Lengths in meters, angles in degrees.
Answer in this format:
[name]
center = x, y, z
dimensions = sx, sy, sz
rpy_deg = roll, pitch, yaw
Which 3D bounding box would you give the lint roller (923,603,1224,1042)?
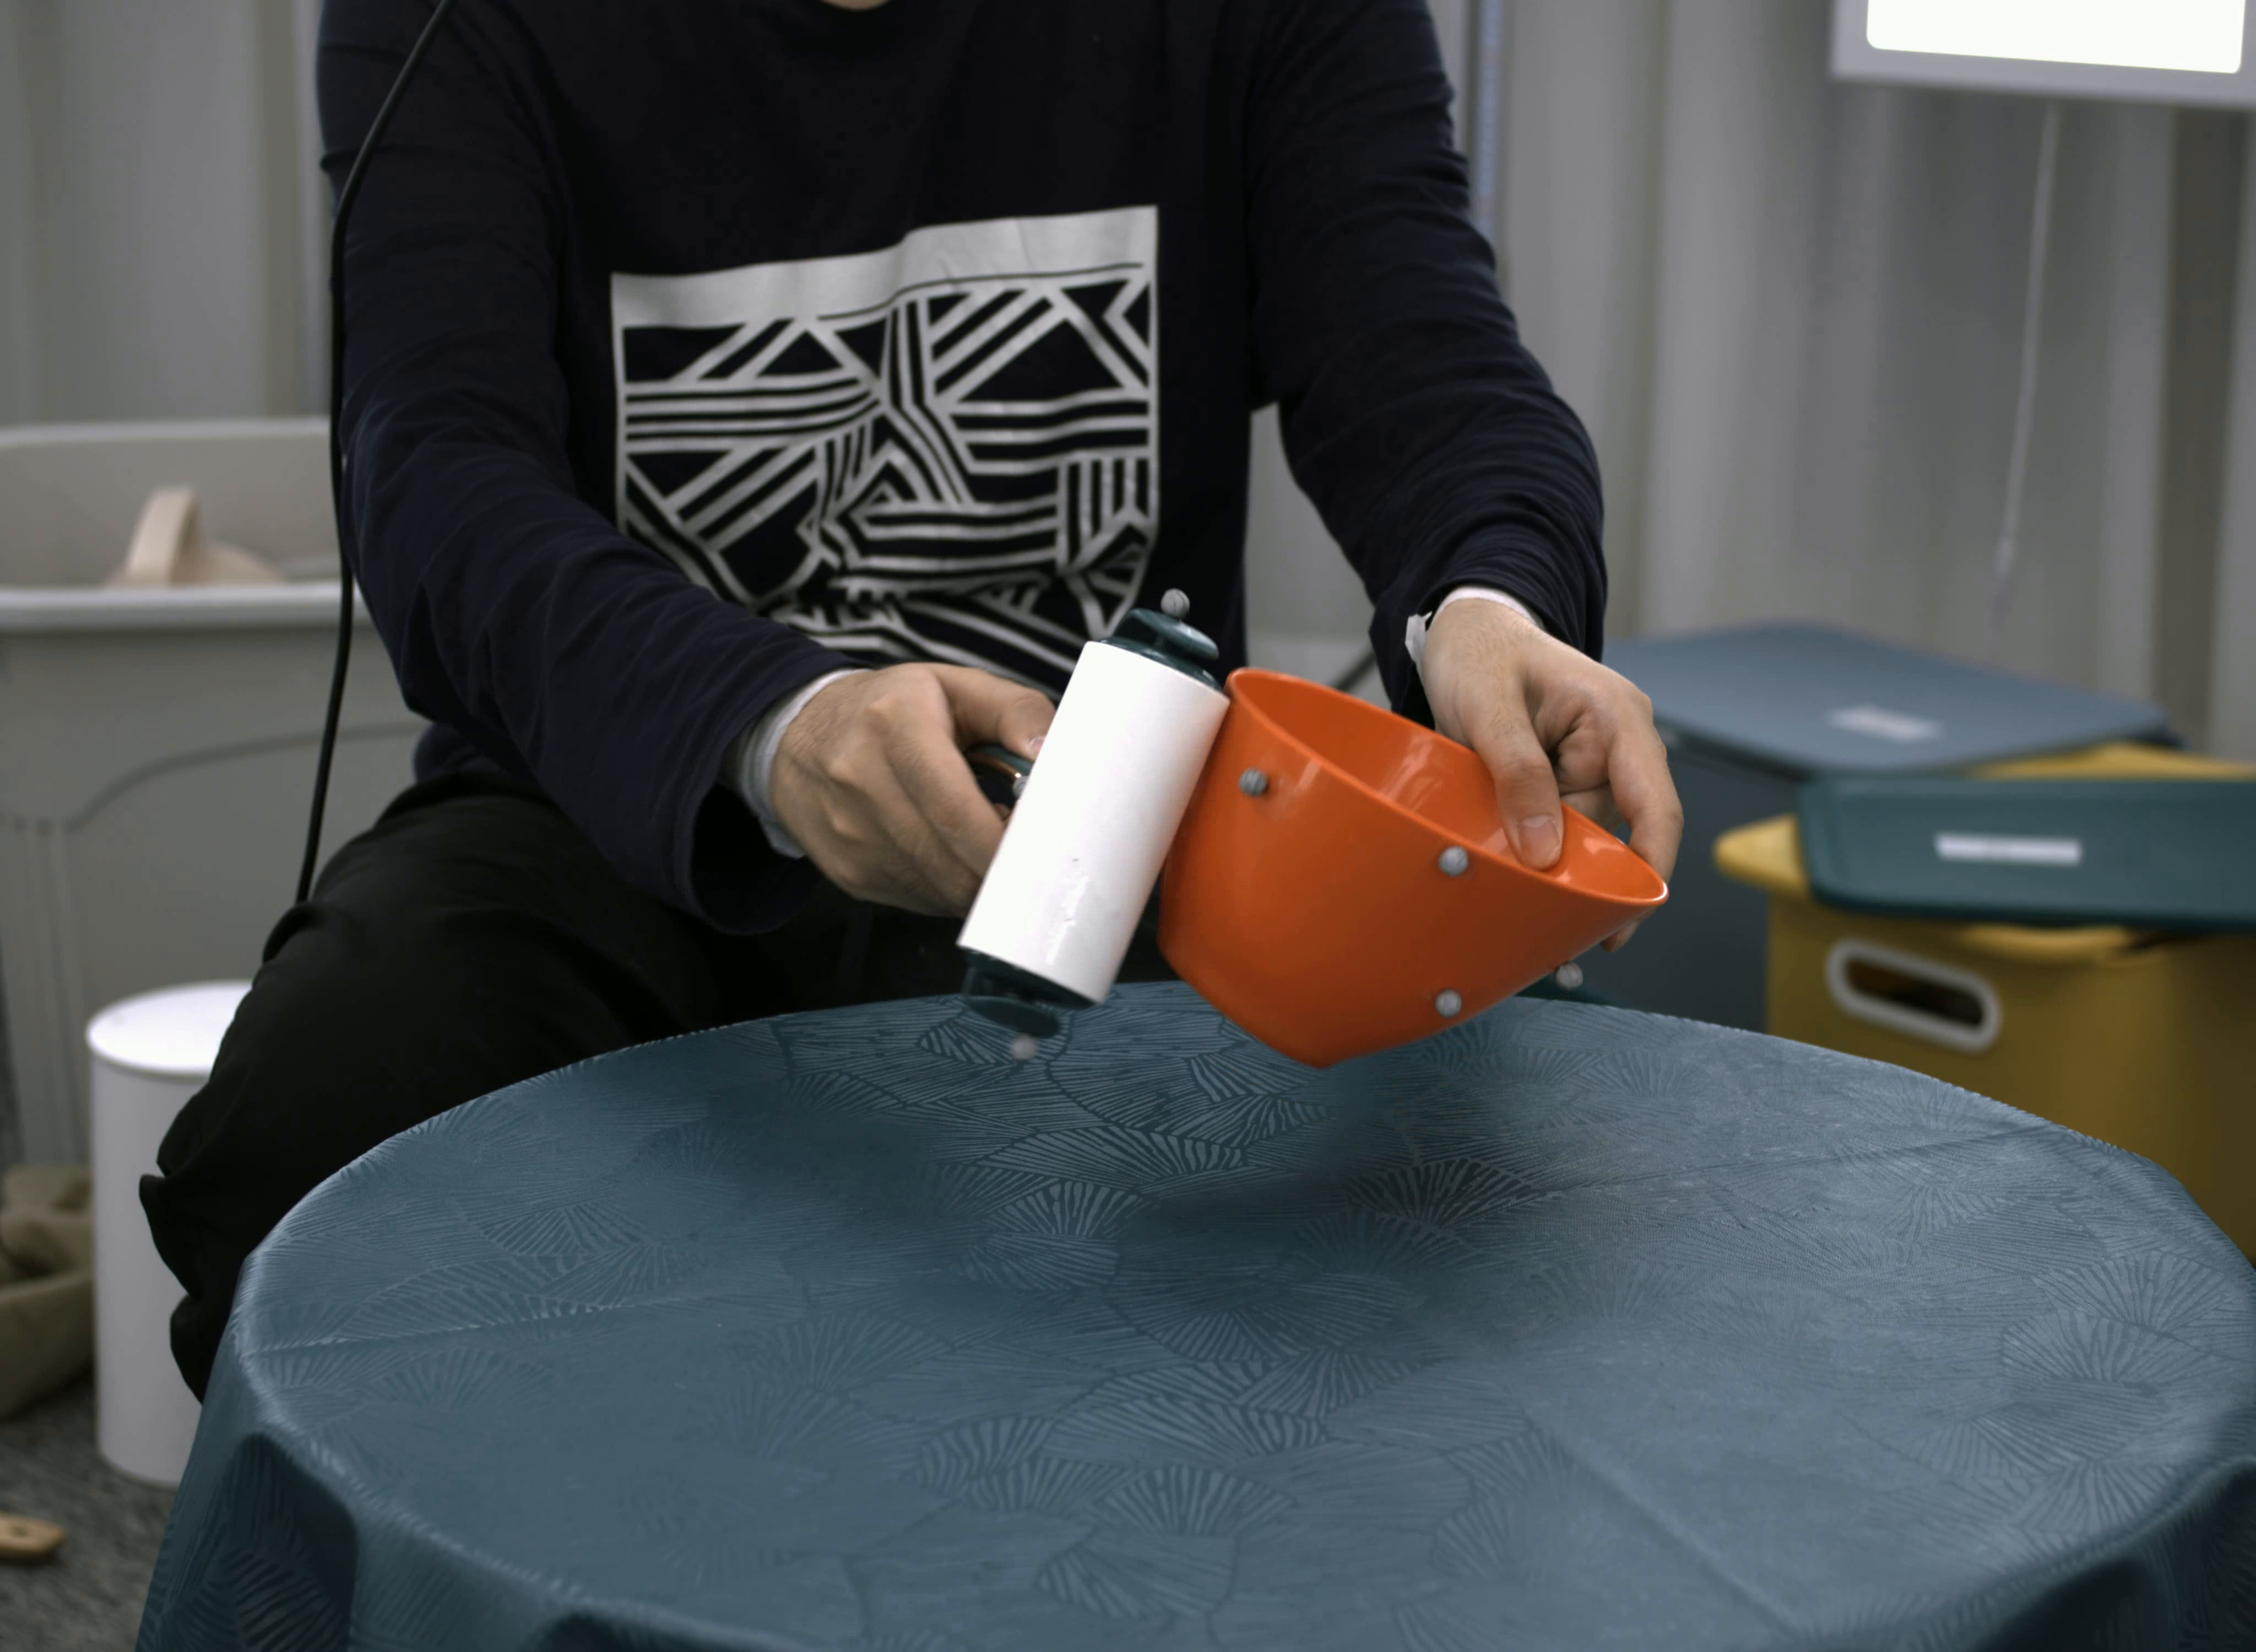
[lint roller]
center = -0.040, -0.006, 1.623
dimensions = 0.049, 0.134, 0.178
rpy_deg = 27, -7, -26

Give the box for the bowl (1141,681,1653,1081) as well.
[bowl]
center = 0.070, 0.024, 1.601
dimensions = 0.148, 0.105, 0.147
rpy_deg = 35, 9, -6
